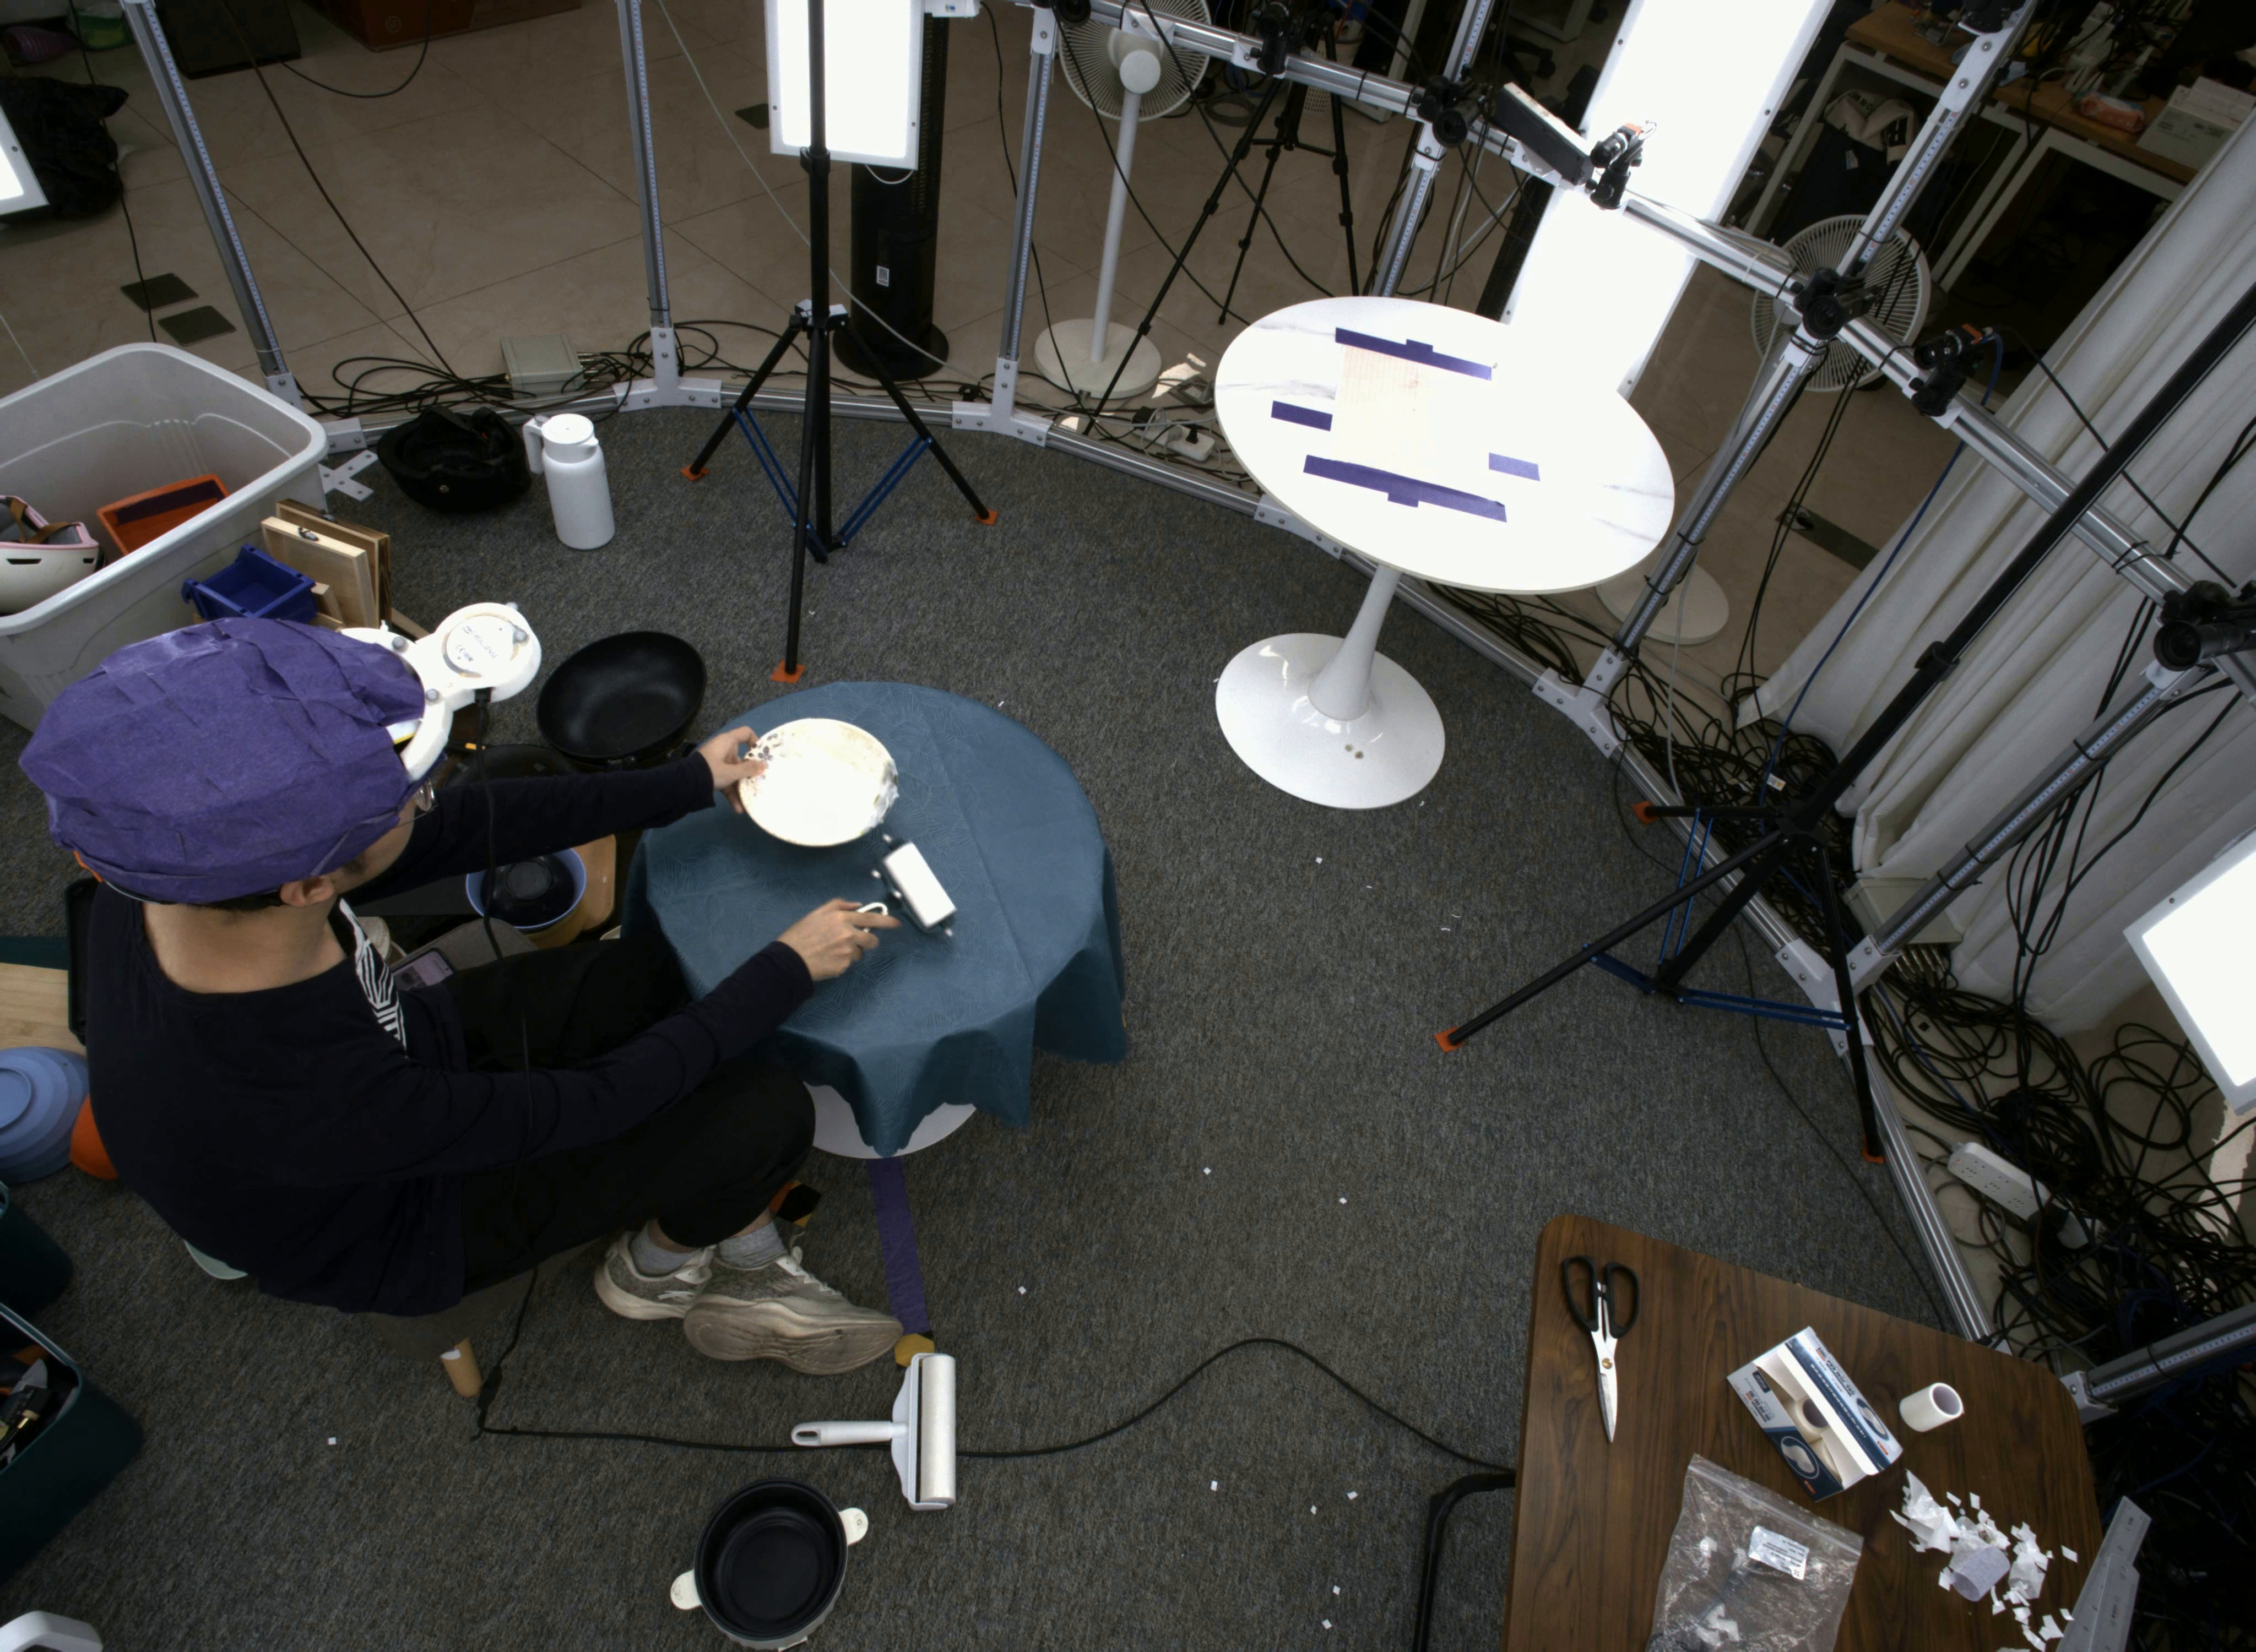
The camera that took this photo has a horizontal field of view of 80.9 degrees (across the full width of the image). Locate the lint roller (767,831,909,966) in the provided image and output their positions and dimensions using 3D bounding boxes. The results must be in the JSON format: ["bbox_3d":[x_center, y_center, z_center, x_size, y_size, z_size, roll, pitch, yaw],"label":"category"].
[{"bbox_3d":[-0.363,0.106,1.580,0.180,0.047,0.136,-41,100,-37],"label":"lint roller"}]

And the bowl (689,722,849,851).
[{"bbox_3d":[-0.464,-0.033,1.690,0.203,0.079,0.201,5,56,-6],"label":"bowl"}]
